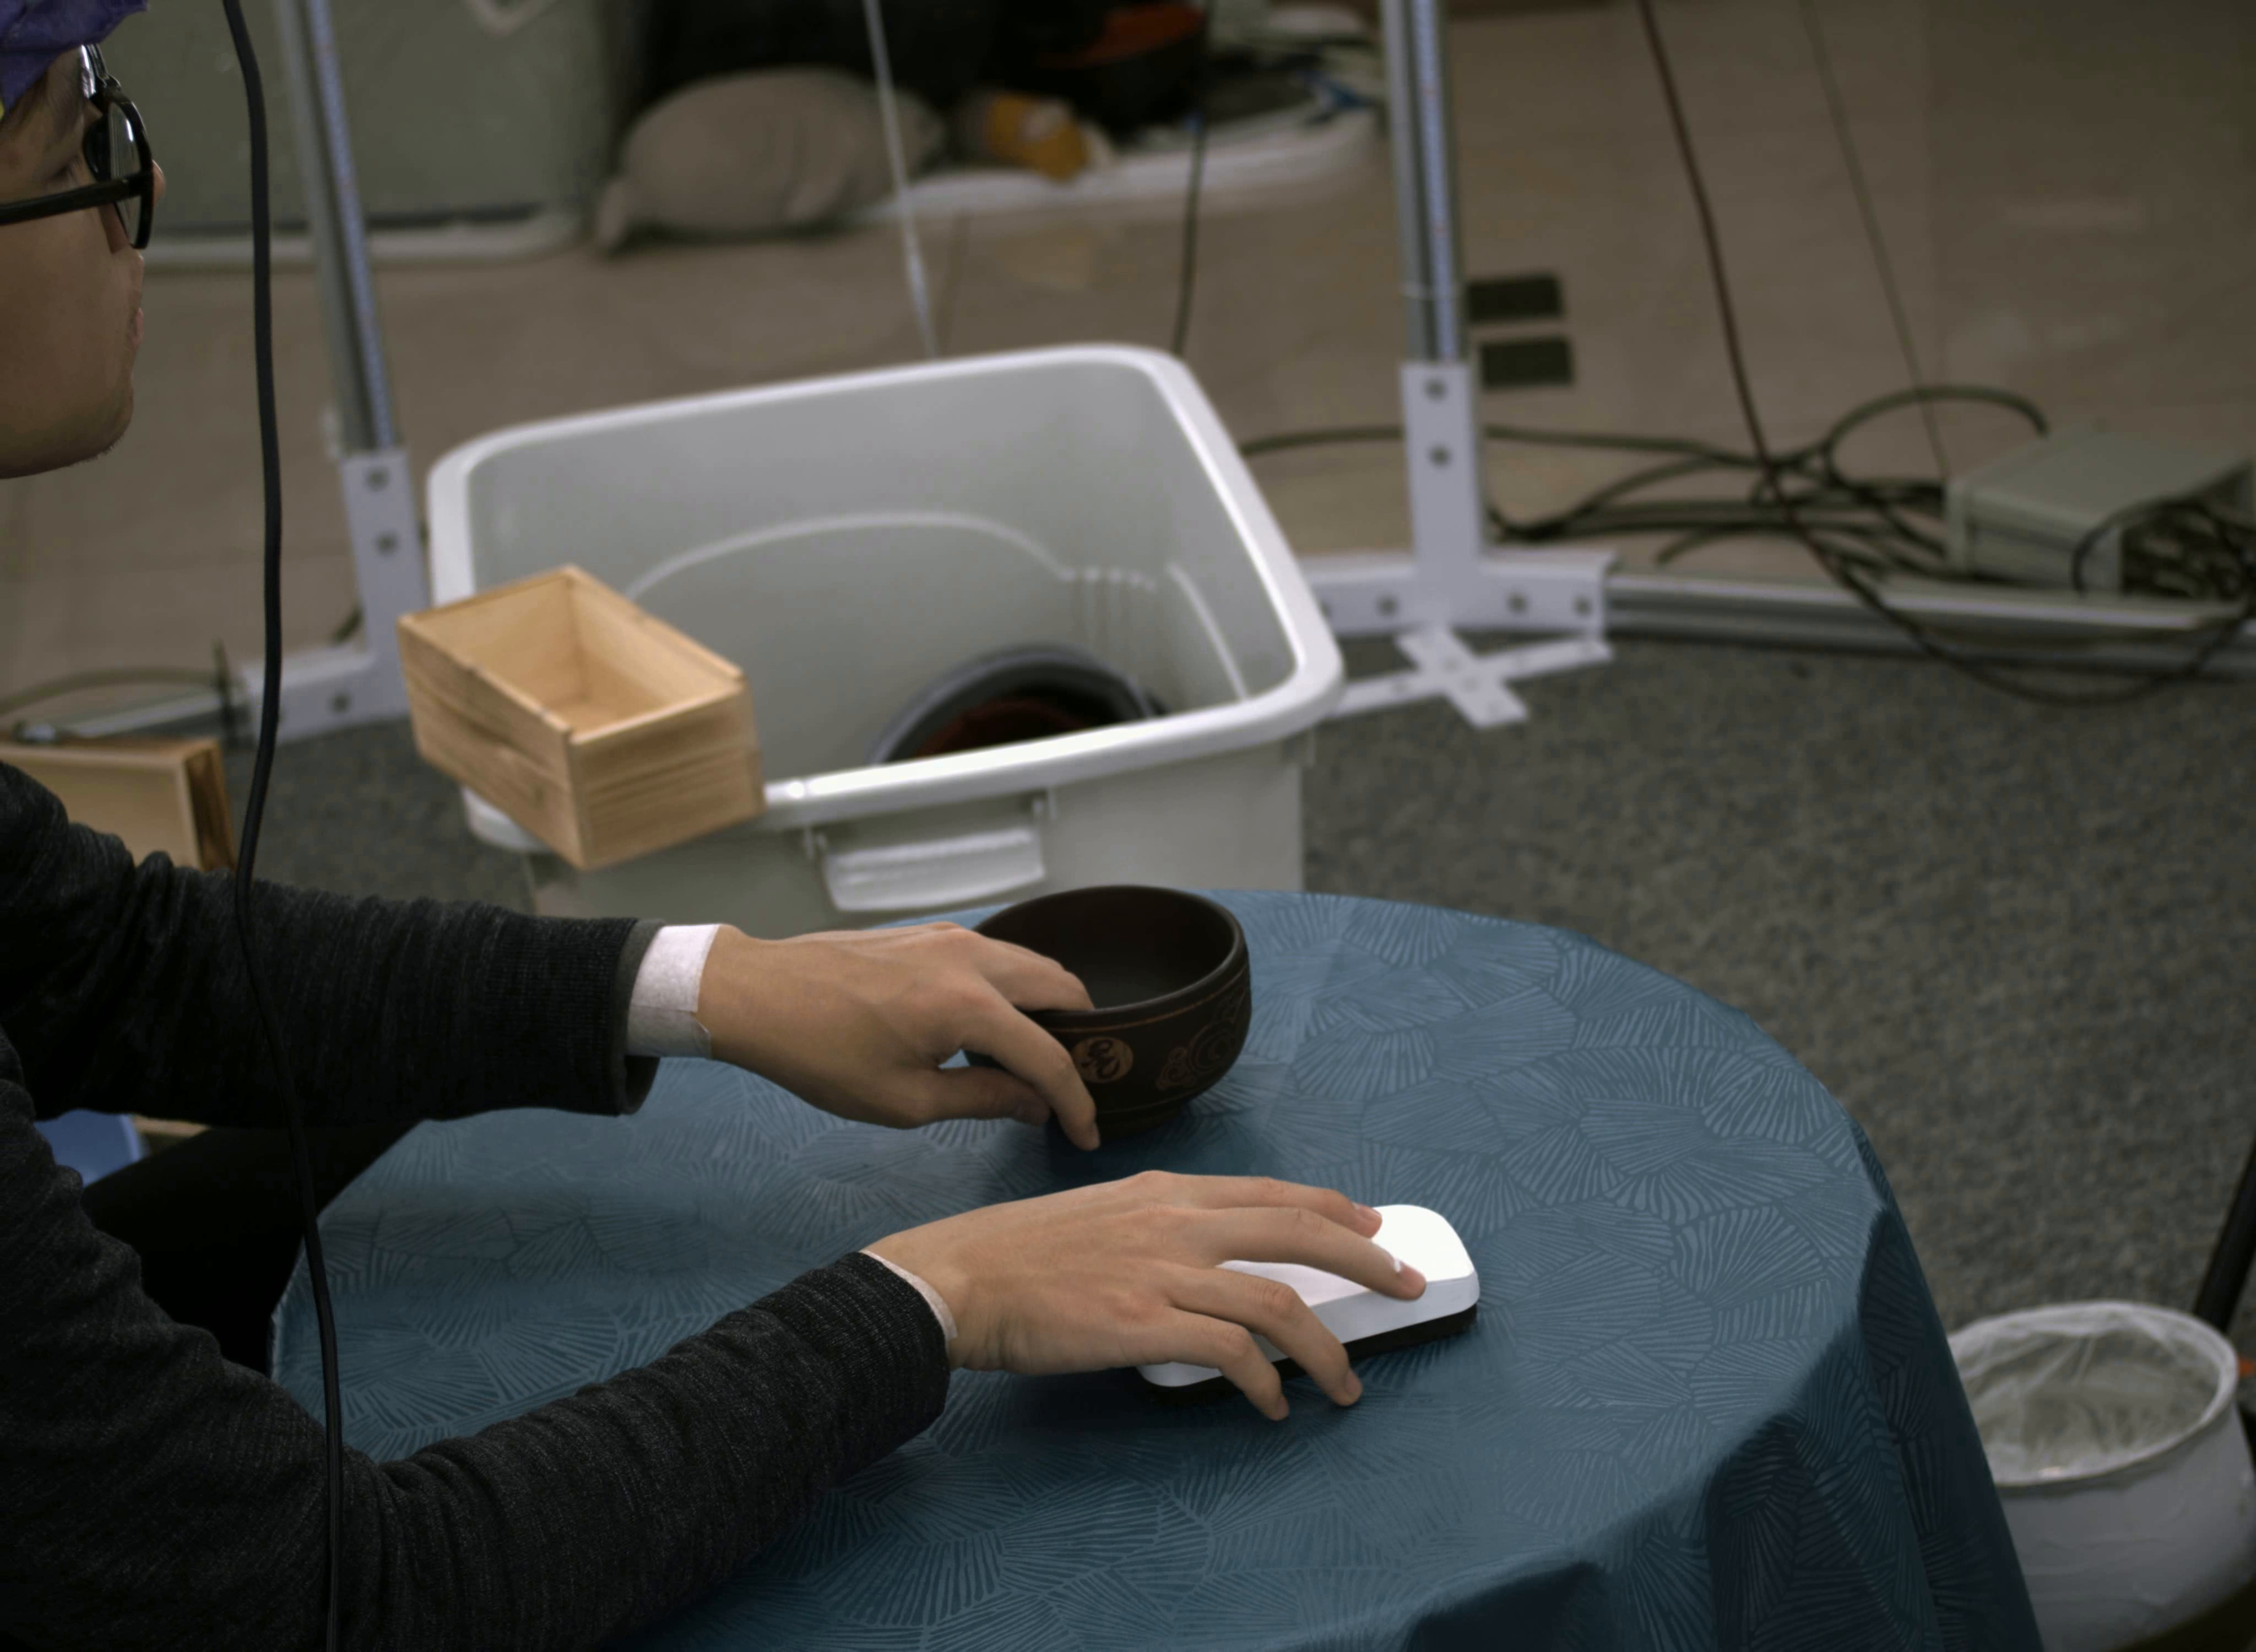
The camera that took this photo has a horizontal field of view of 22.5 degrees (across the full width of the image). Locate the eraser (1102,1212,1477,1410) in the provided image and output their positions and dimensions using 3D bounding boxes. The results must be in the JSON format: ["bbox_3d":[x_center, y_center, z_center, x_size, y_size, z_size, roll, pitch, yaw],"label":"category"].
[{"bbox_3d":[0.058,0.170,2.031,0.131,0.035,0.062,-13,25,-15],"label":"eraser"}]

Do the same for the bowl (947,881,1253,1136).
[{"bbox_3d":[-0.009,0.077,2.198,0.118,0.071,0.116,-6,26,3],"label":"bowl"}]
